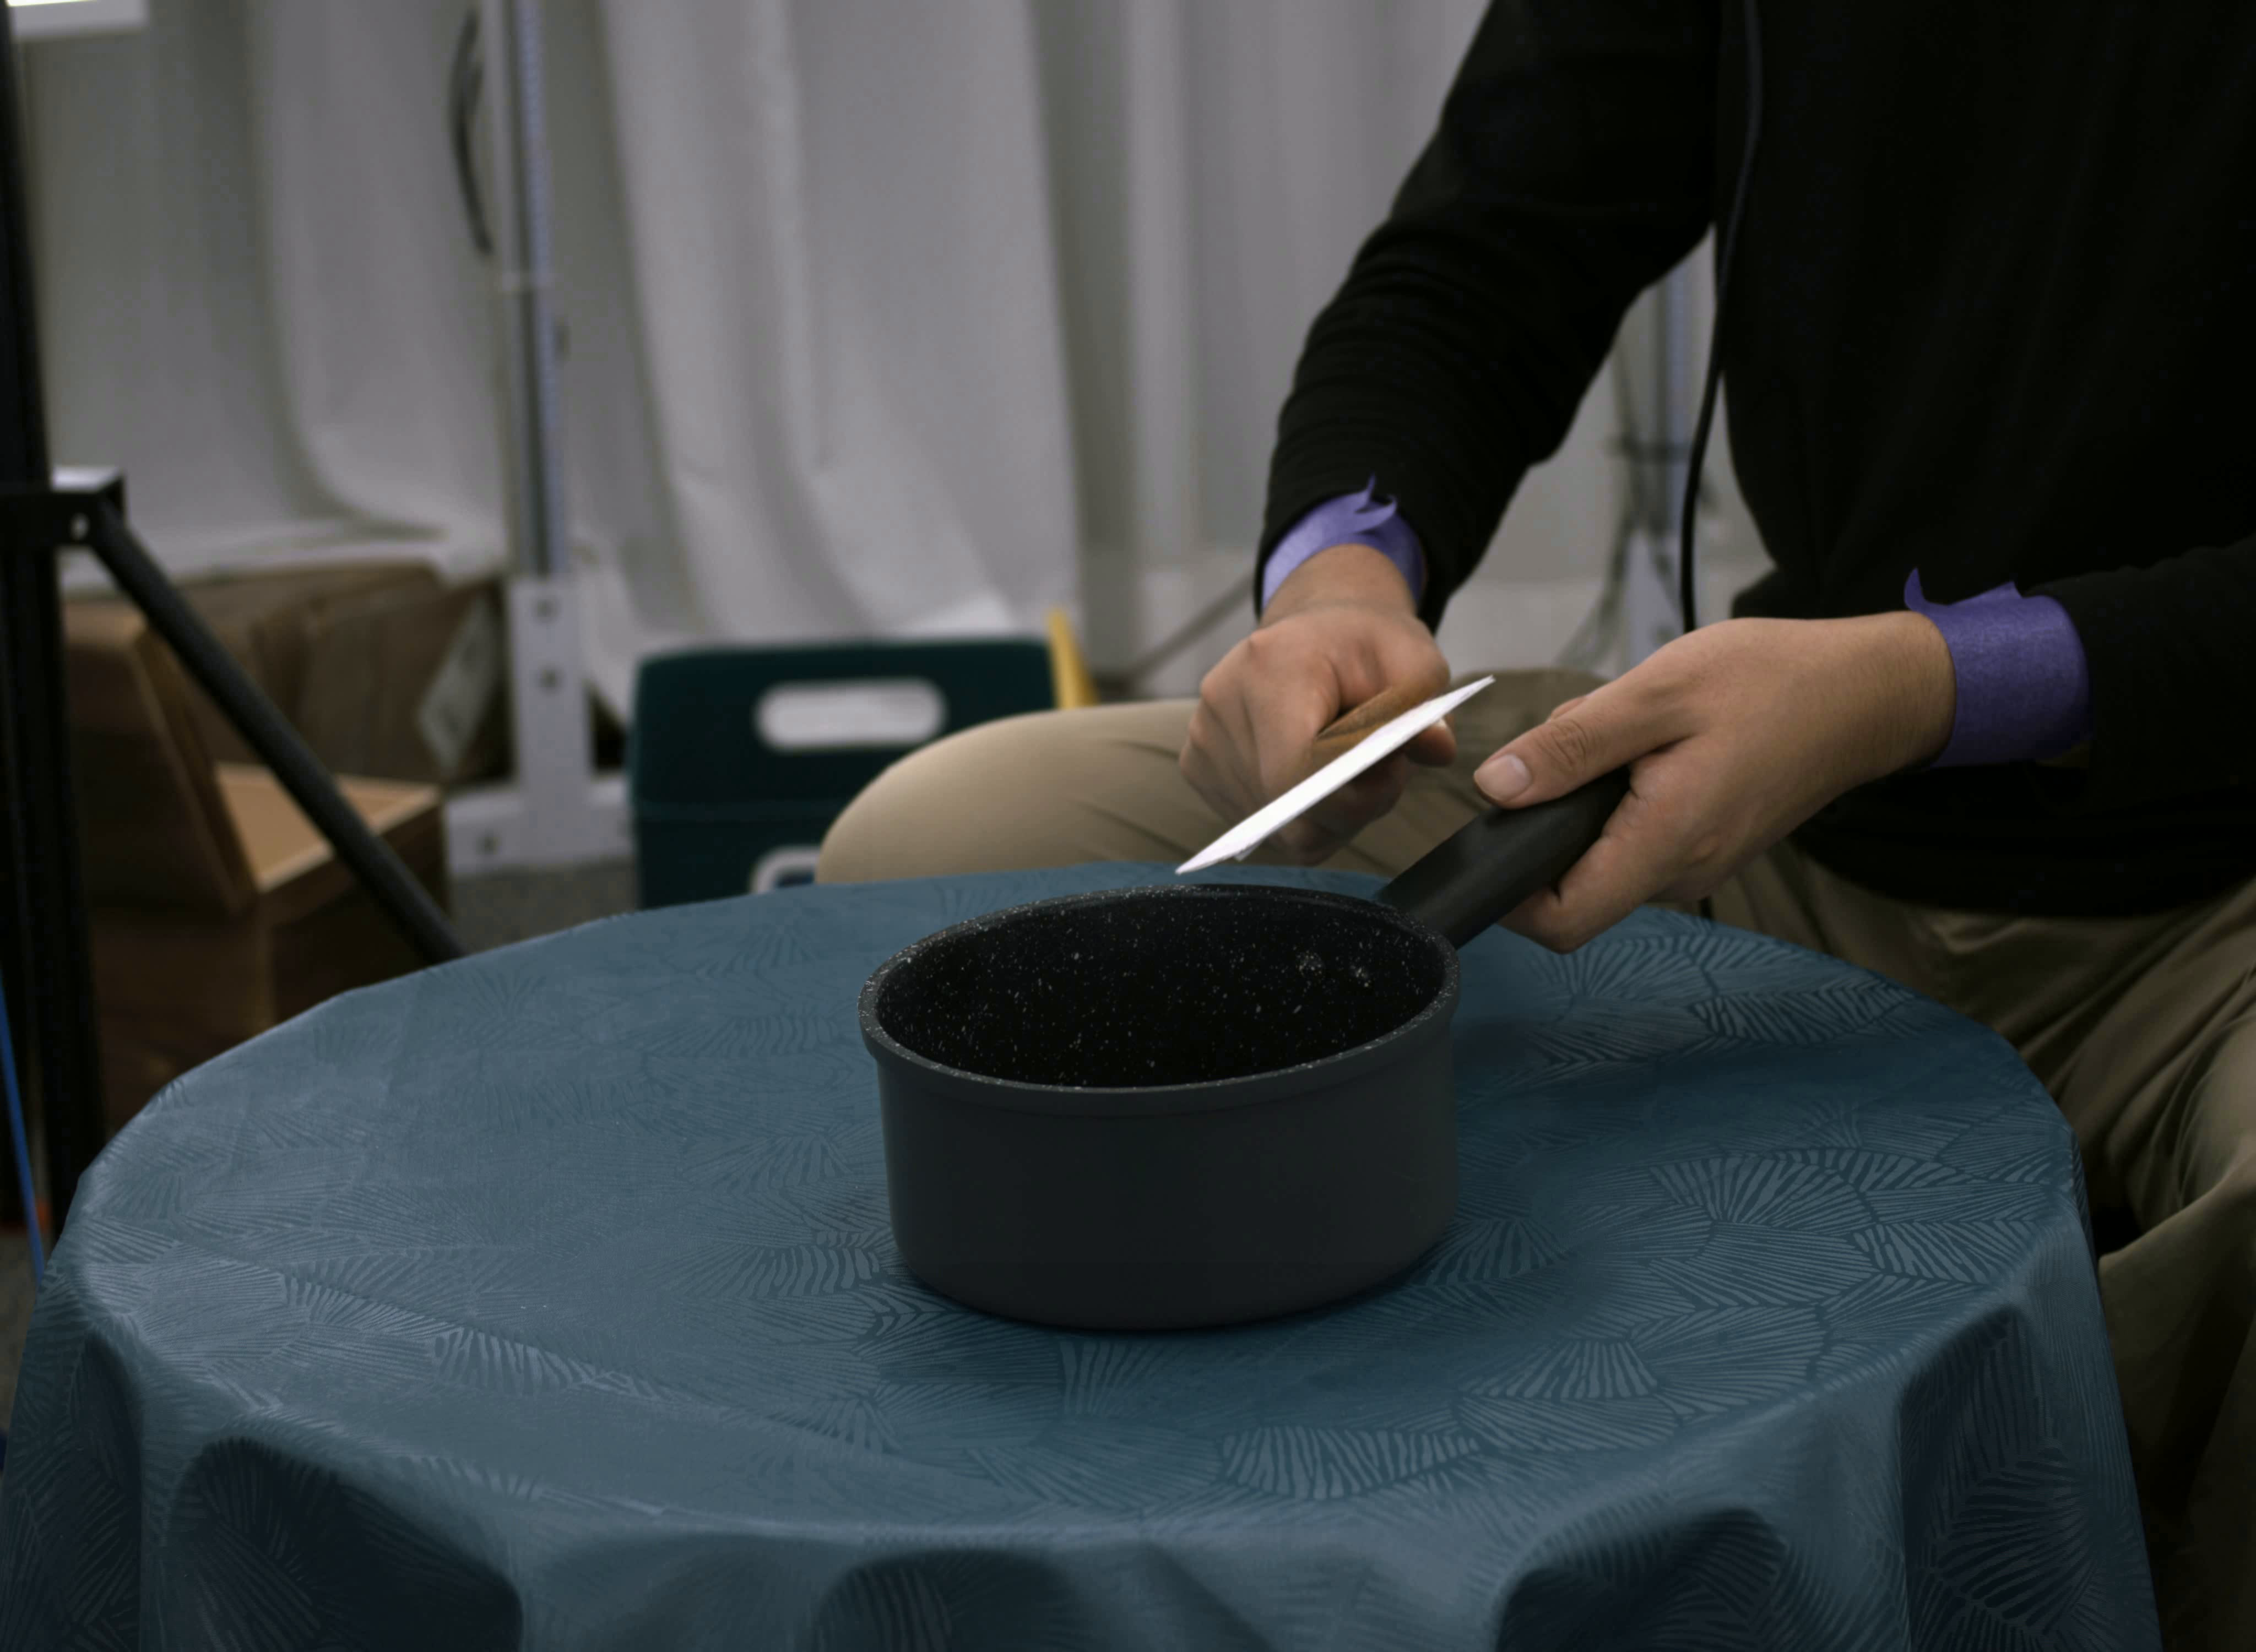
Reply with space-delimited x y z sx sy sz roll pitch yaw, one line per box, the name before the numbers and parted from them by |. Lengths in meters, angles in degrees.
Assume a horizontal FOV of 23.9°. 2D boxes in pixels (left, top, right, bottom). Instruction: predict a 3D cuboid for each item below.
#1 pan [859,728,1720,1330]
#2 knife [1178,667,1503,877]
pan | 0.064 0.055 1.556 0.176 0.086 0.322 13 25 42
knife | 0.056 -0.013 1.635 0.092 0.021 0.306 -35 1 -5
